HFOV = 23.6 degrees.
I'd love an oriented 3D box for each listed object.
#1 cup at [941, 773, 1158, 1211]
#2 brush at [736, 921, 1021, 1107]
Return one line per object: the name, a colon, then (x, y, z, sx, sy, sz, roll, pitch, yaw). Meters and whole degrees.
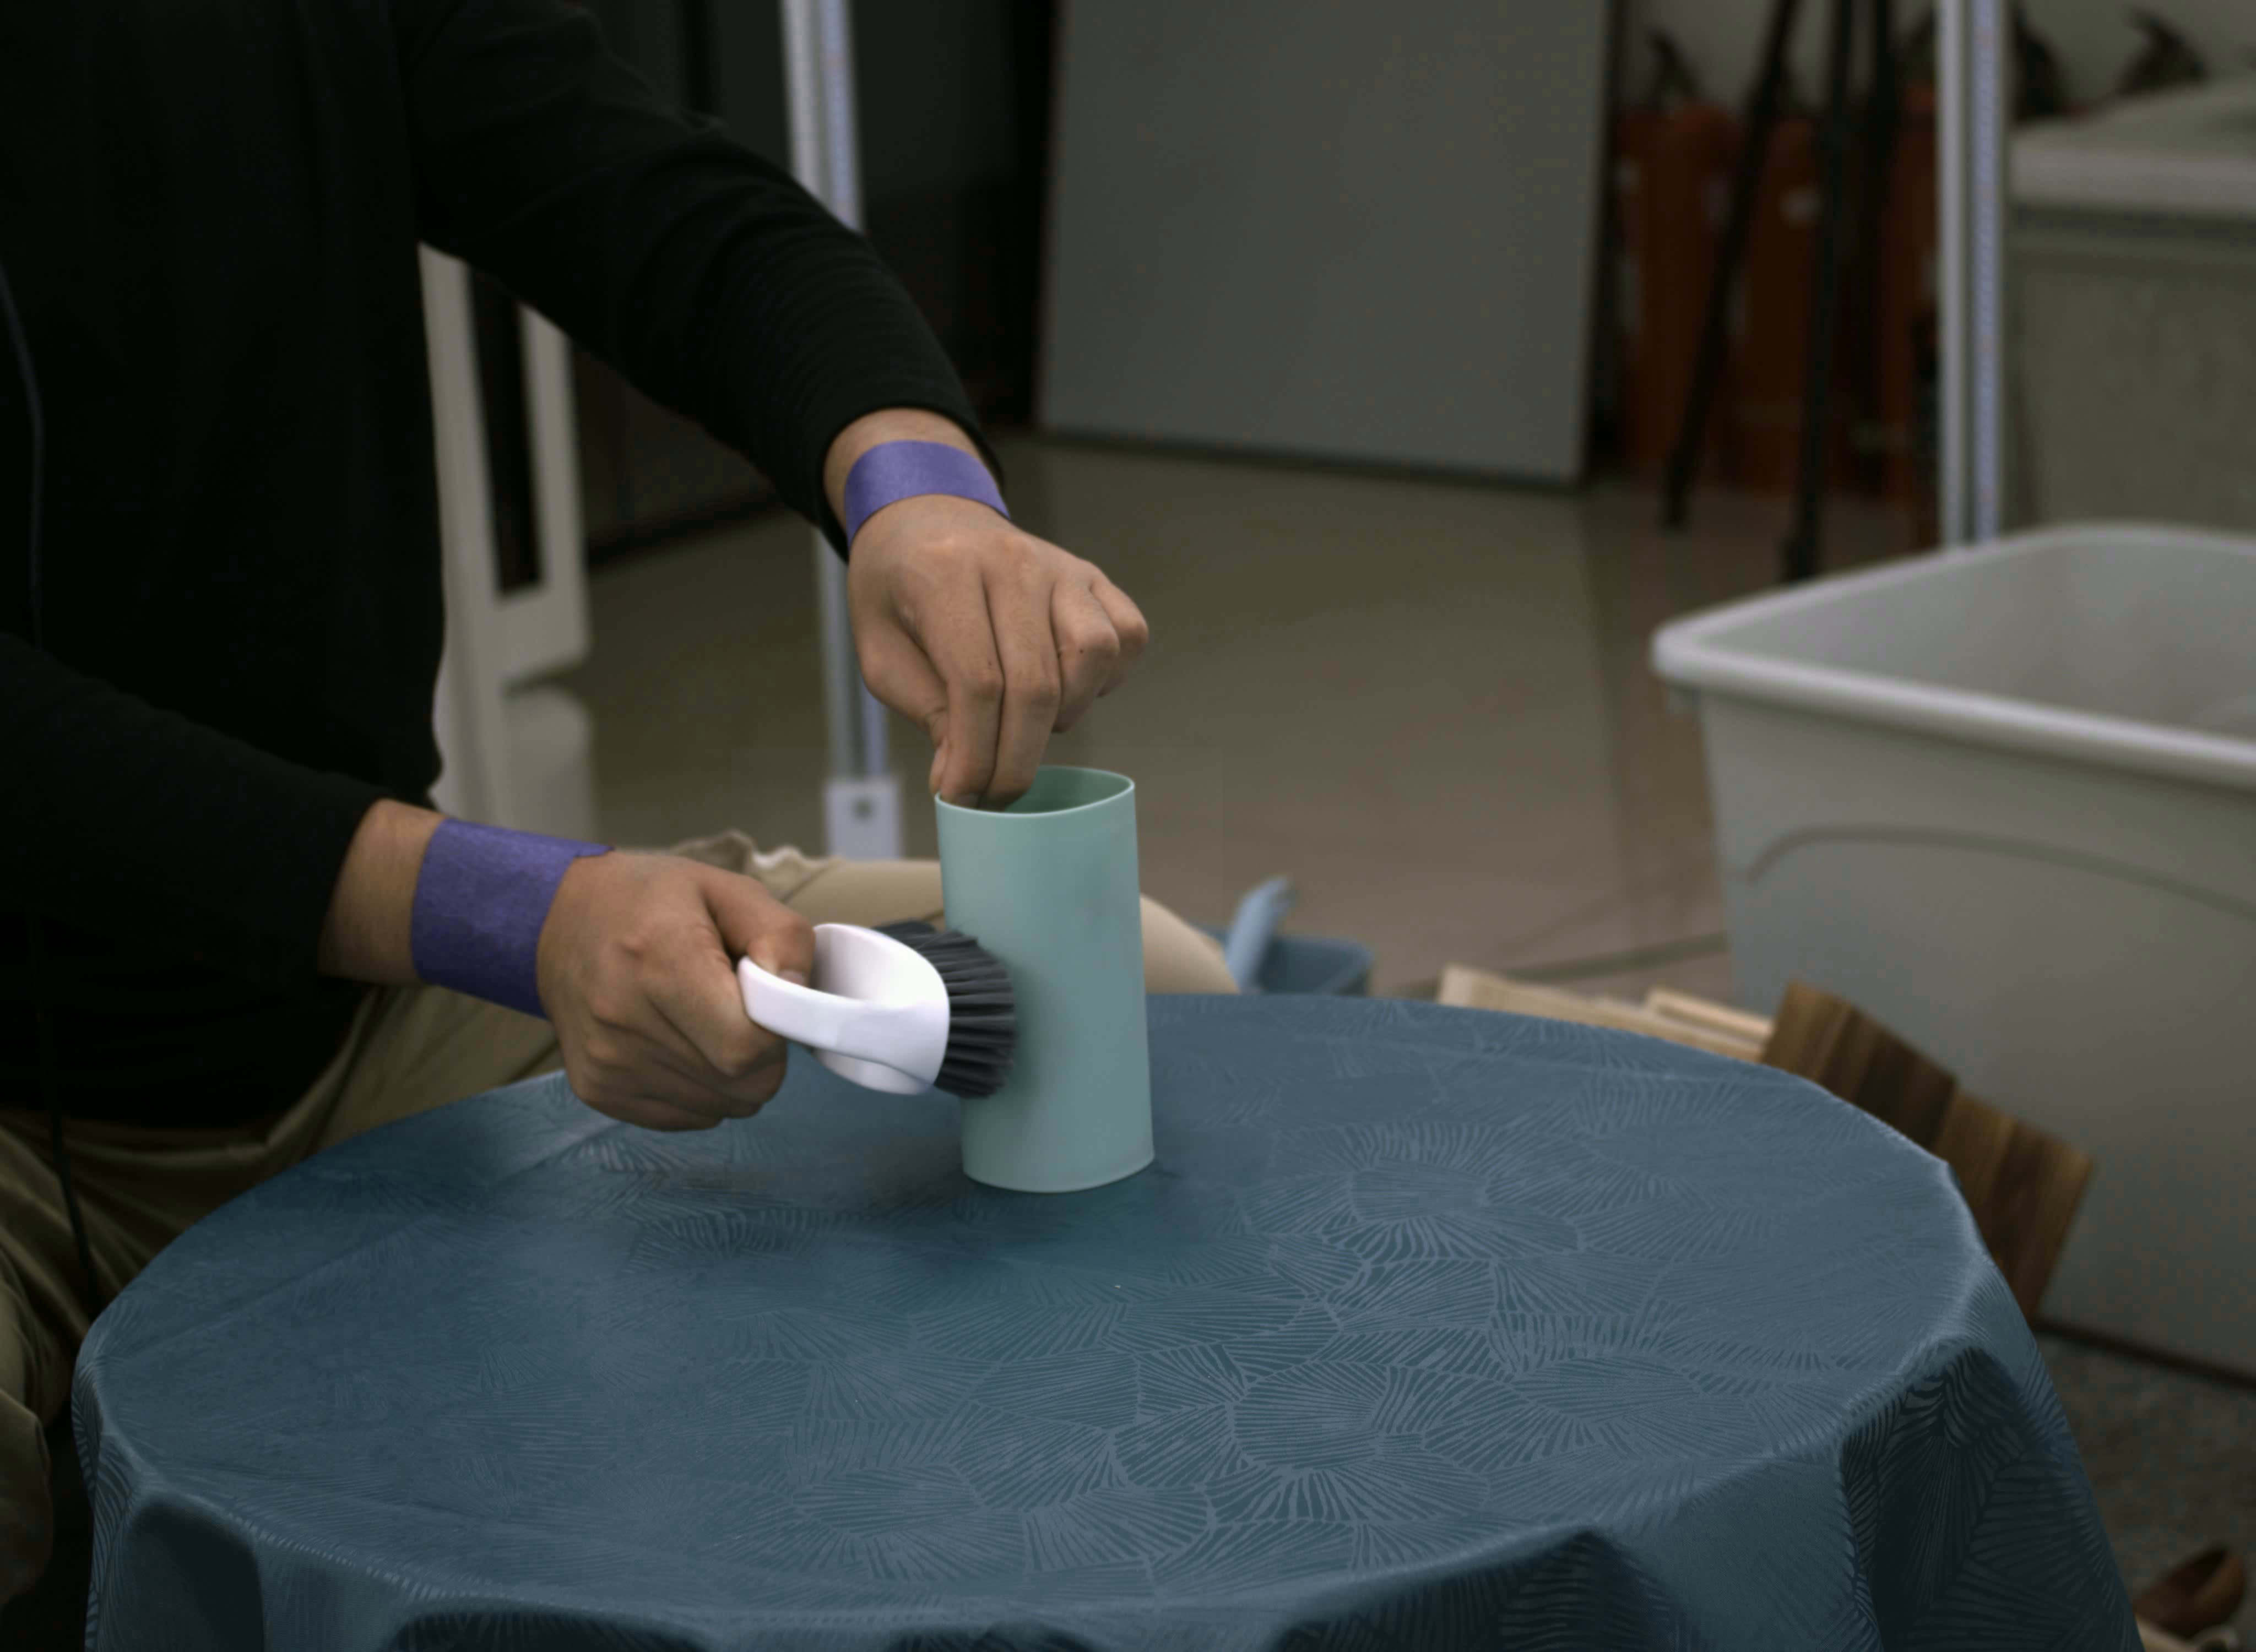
cup: (-0.026, 0.054, 1.788, 0.066, 0.134, 0.067, -3, 14, 0)
brush: (-0.087, 0.059, 1.757, 0.071, 0.051, 0.100, 3, 11, -30)
